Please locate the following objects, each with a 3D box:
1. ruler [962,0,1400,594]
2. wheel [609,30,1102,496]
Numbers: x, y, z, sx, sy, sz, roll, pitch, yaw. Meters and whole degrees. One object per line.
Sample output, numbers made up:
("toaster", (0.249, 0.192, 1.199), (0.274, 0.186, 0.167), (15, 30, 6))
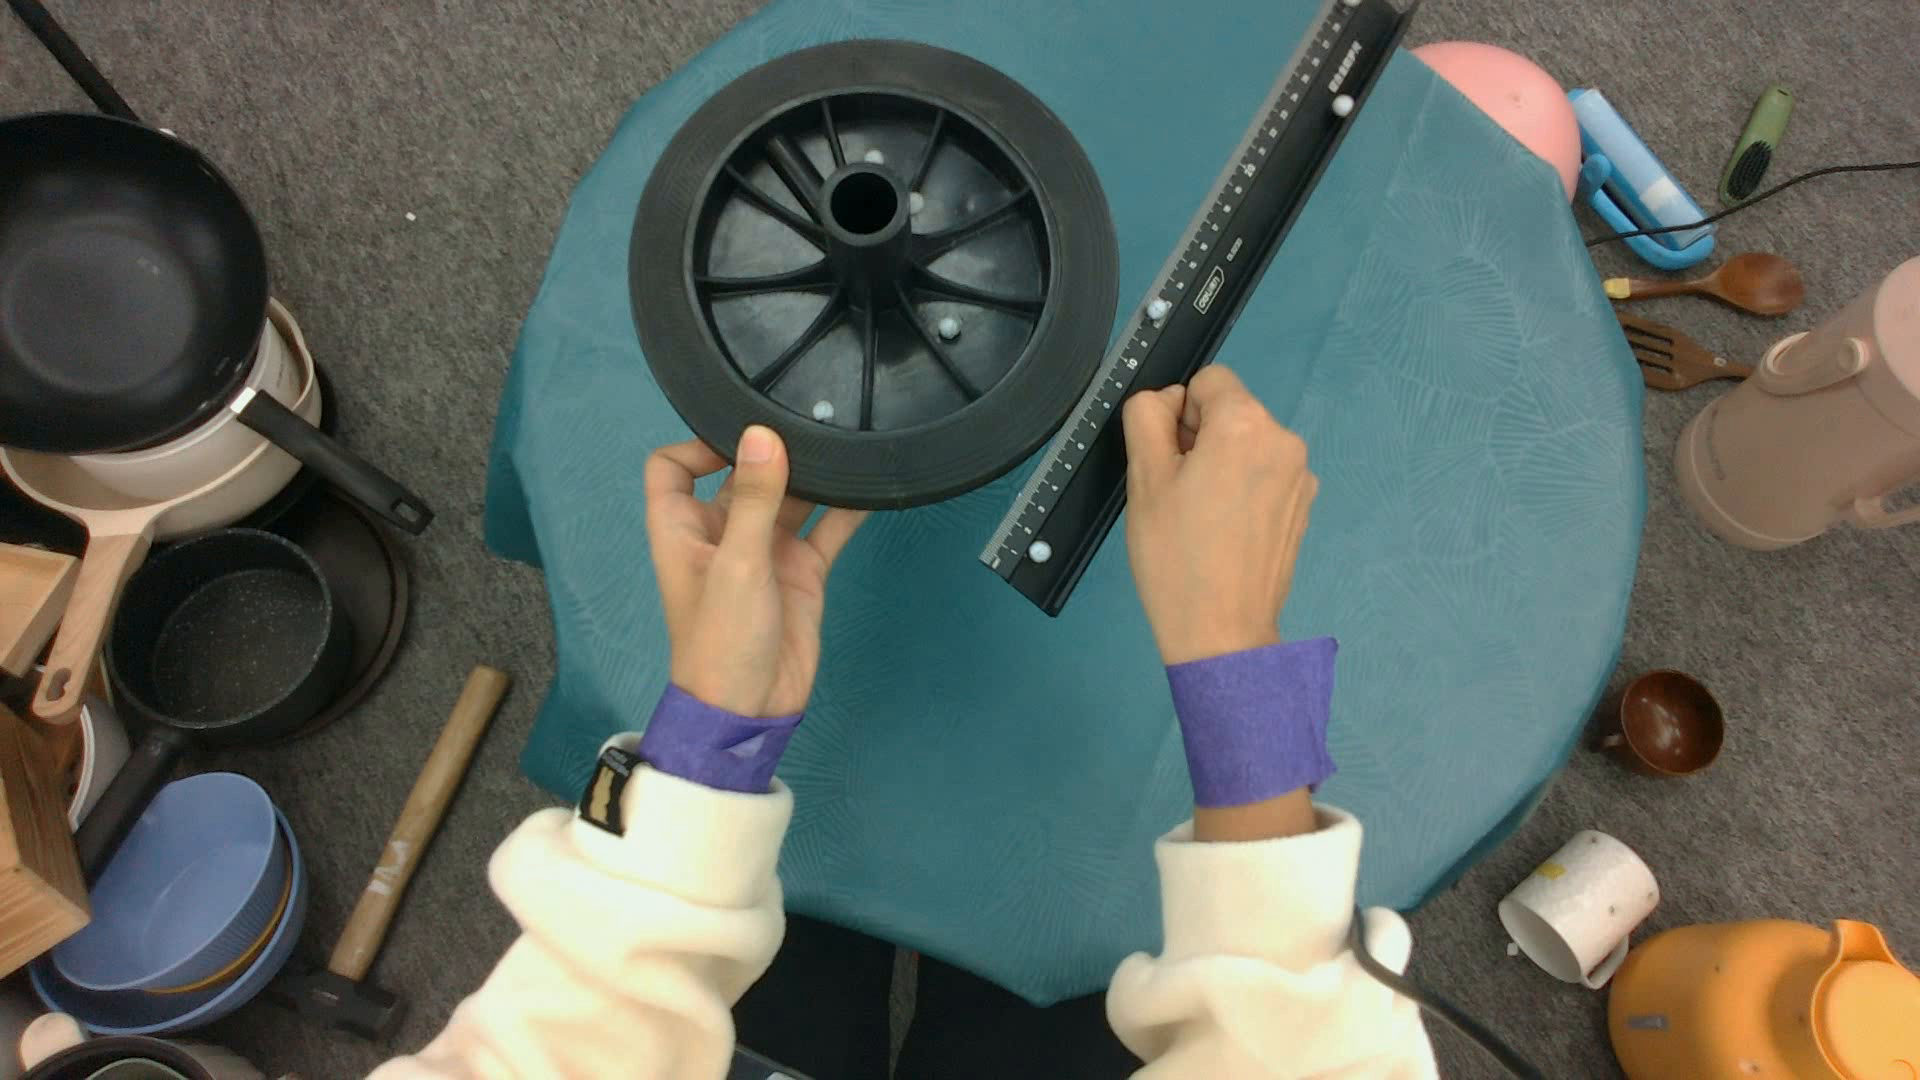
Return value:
("ruler", (0.097, -0.116, 0.549), (0.039, 0.017, 0.313), (38, 73, -16))
("wheel", (-0.040, -0.114, 0.514), (0.190, 0.079, 0.188), (30, 80, 4))
